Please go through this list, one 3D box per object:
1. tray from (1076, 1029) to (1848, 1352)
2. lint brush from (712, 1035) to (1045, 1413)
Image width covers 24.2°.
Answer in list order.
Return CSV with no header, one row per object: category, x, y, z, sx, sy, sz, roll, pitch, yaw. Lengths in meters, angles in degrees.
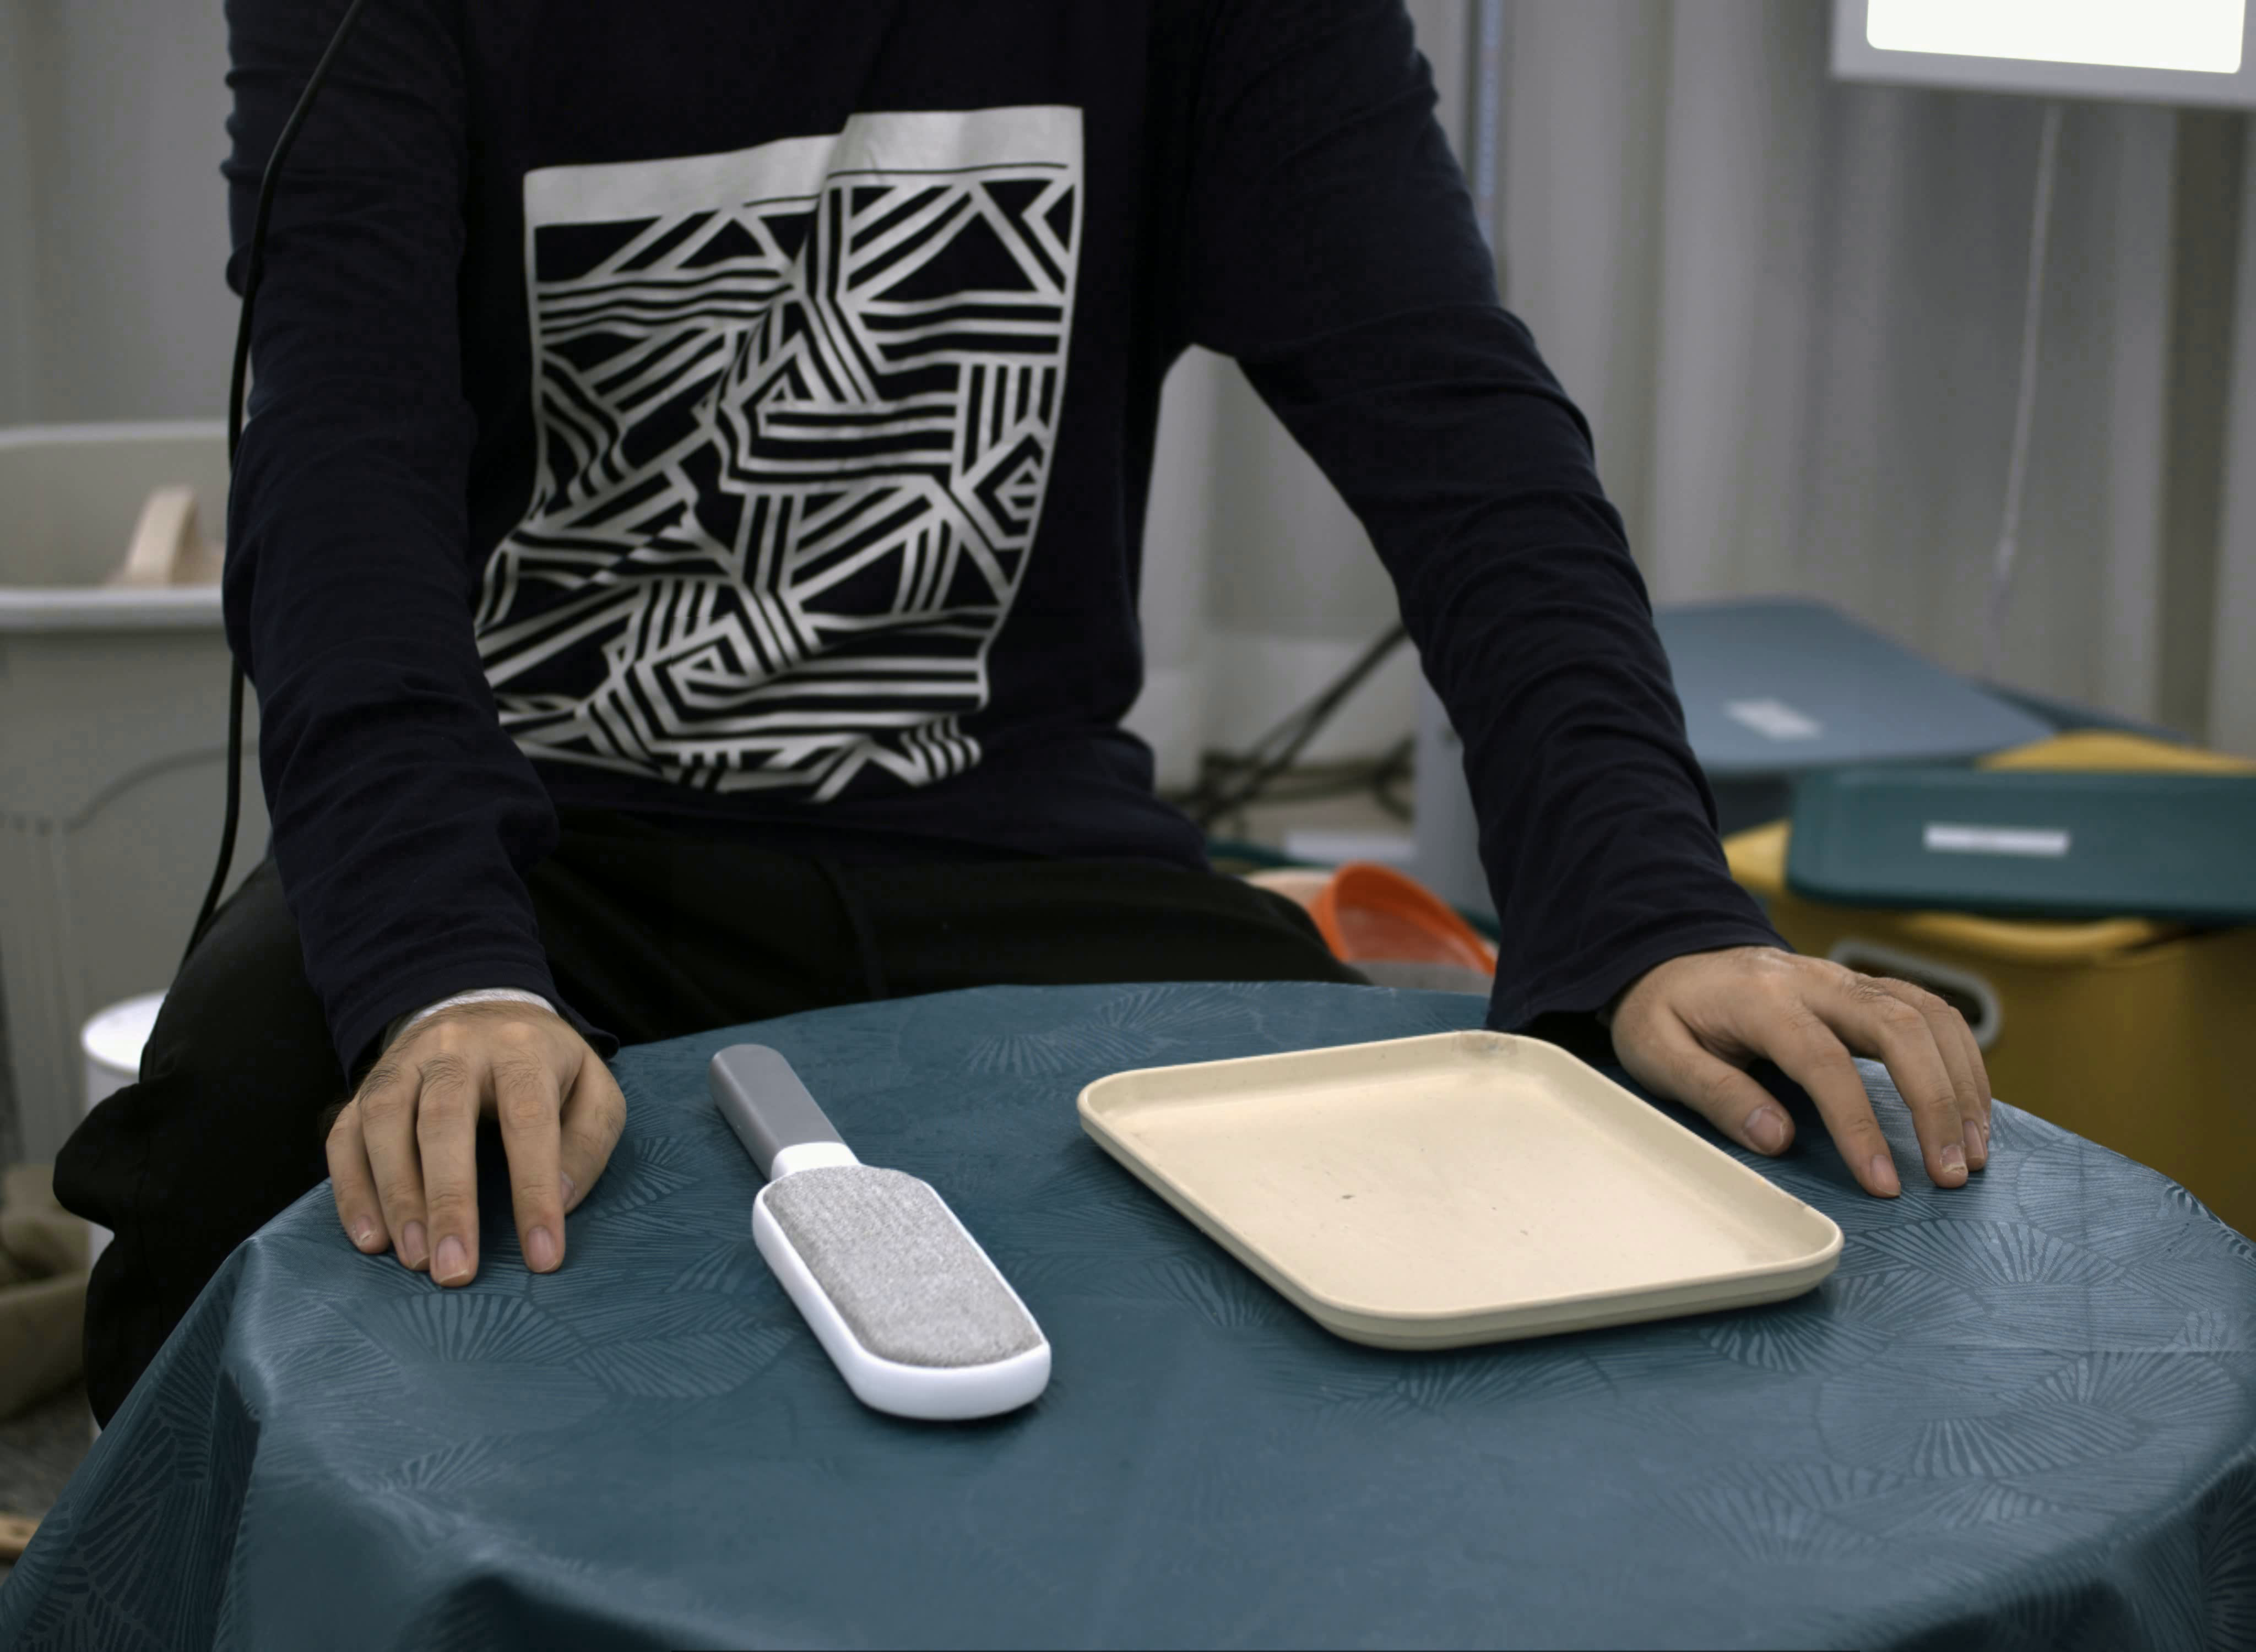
tray,0.097,0.109,1.607,0.172,0.017,0.237,-7,17,-22
lint brush,-0.083,0.114,1.567,0.060,0.021,0.306,-9,17,-14
